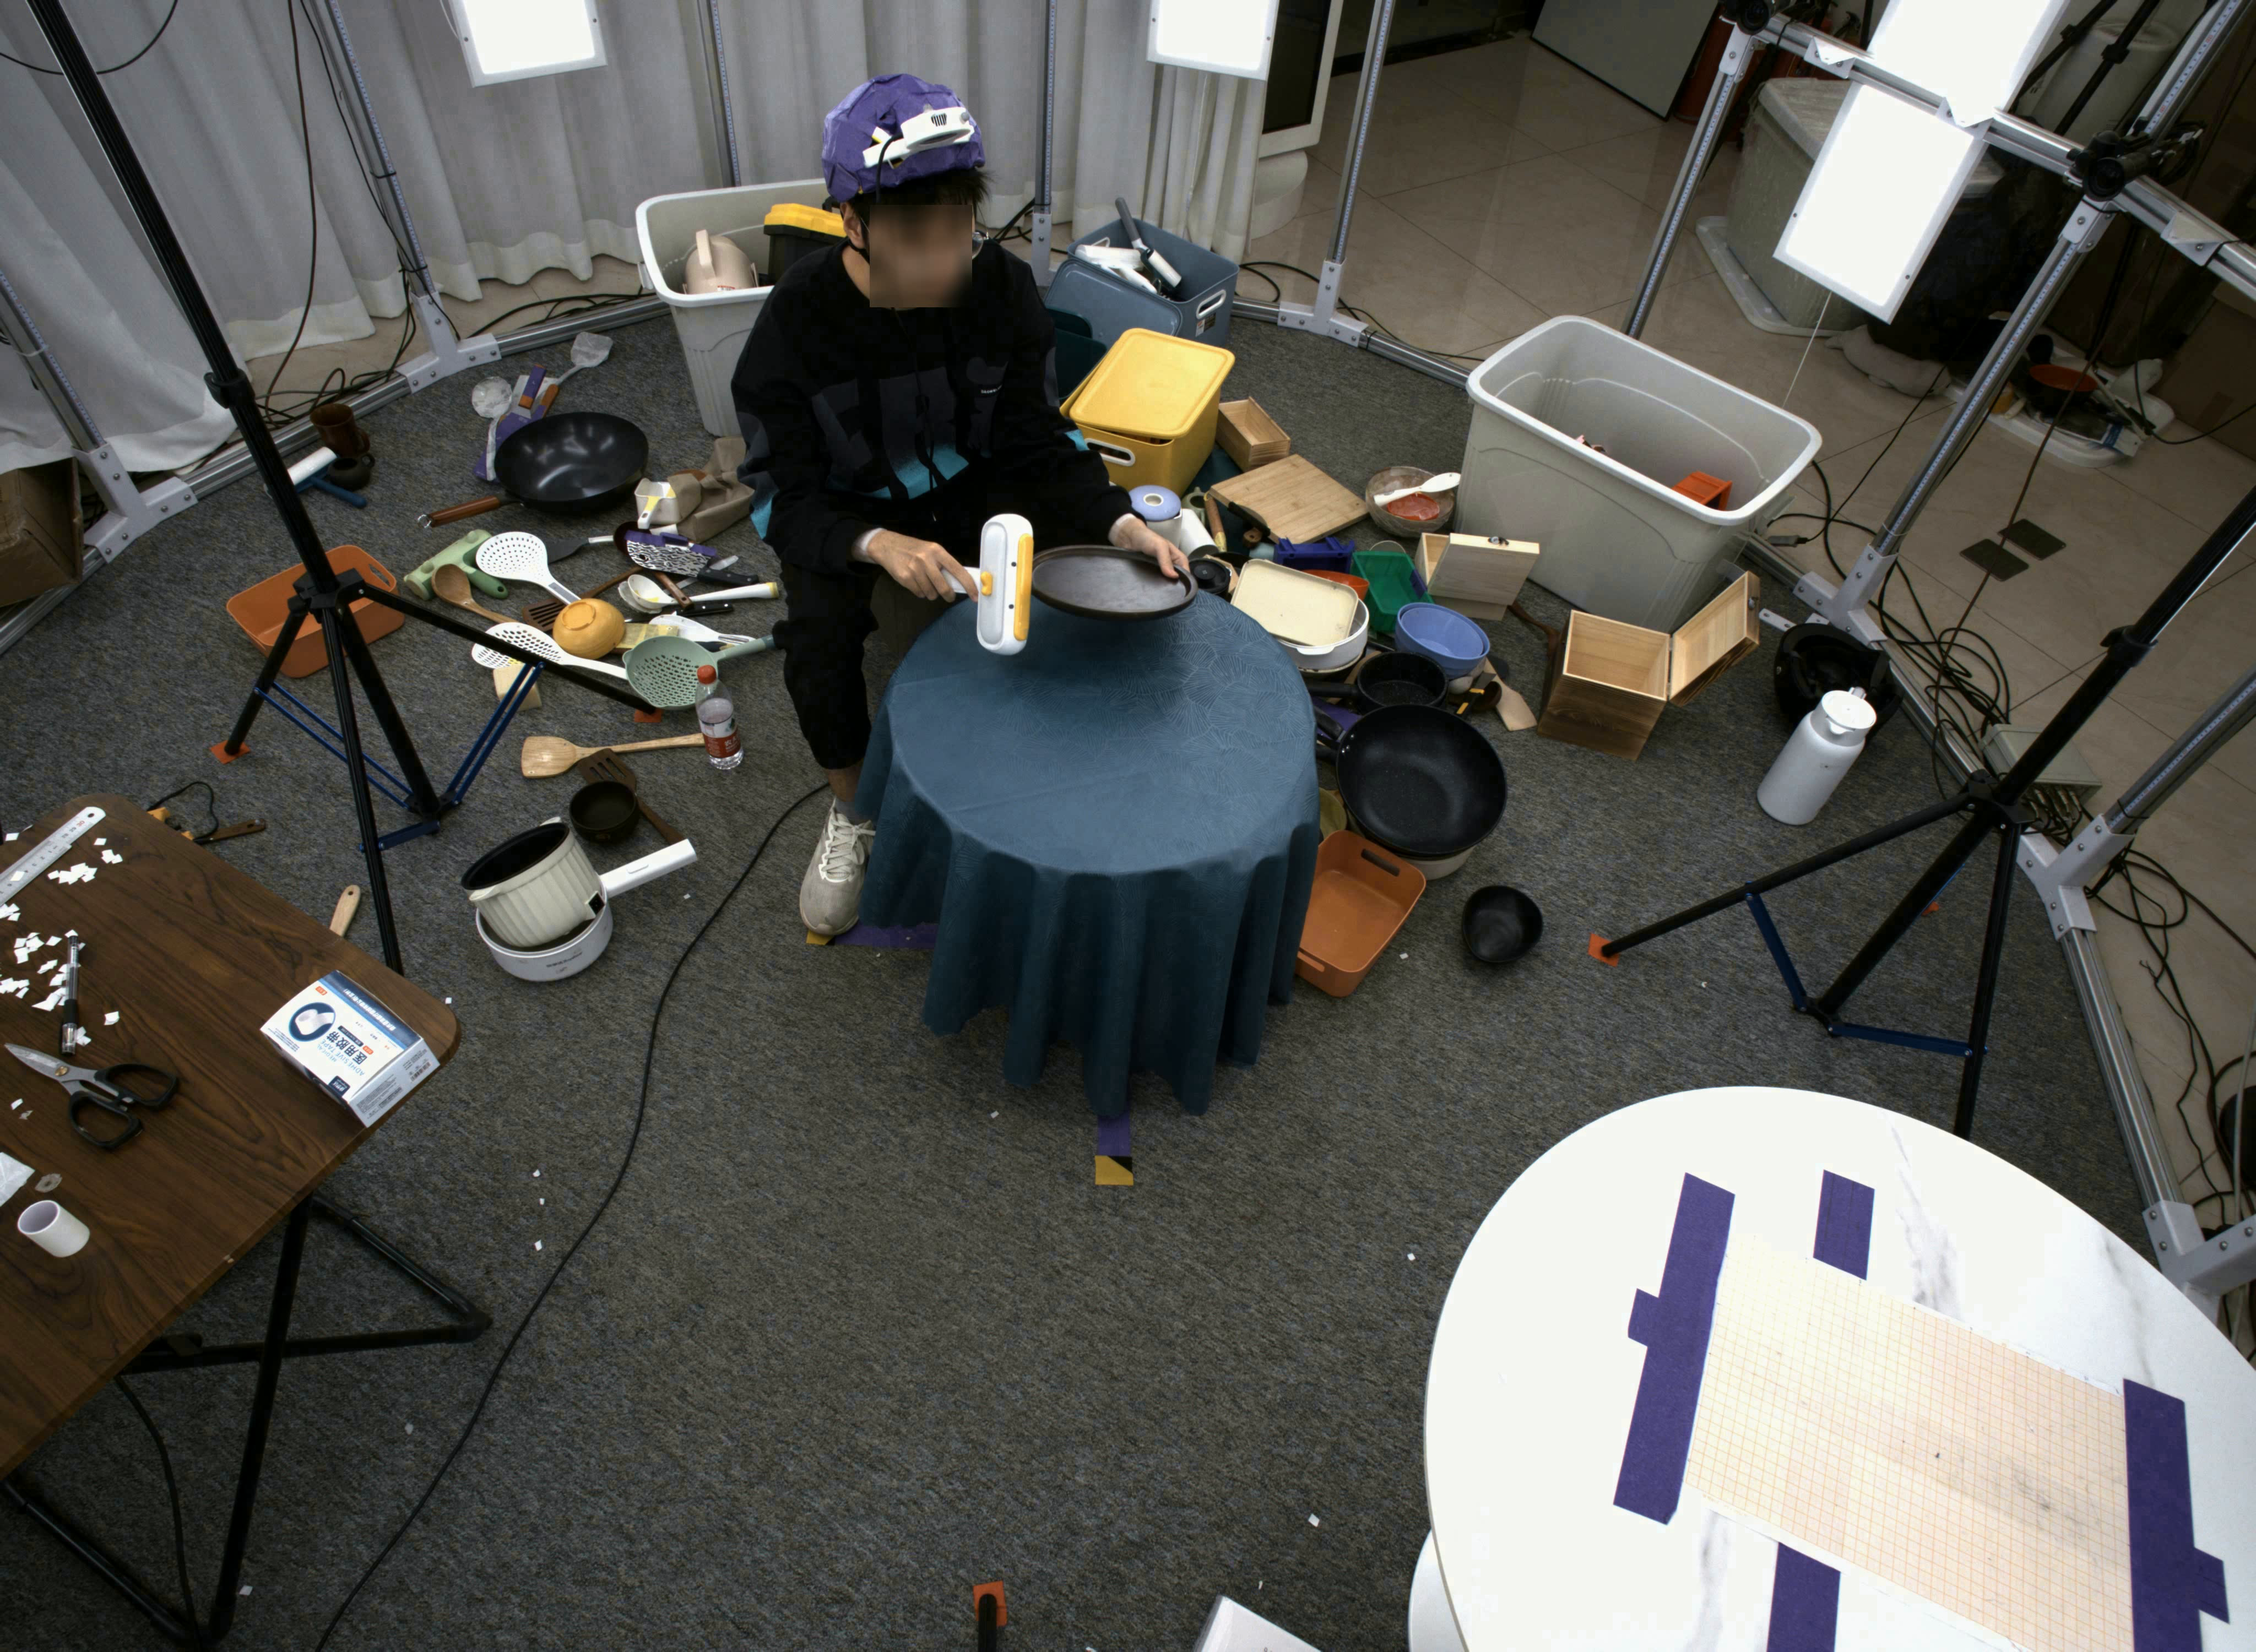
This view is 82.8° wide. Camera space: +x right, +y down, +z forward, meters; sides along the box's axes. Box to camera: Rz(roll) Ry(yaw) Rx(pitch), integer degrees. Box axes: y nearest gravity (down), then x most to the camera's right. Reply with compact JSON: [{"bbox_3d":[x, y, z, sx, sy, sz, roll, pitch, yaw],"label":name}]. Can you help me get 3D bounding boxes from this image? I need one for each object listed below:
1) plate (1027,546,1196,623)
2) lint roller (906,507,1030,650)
[{"bbox_3d":[-0.029,-0.347,1.839,0.254,0.028,0.260,4,30,-3],"label":"plate"},{"bbox_3d":[-0.222,-0.346,1.802,0.194,0.190,0.074,9,18,33],"label":"lint roller"}]
